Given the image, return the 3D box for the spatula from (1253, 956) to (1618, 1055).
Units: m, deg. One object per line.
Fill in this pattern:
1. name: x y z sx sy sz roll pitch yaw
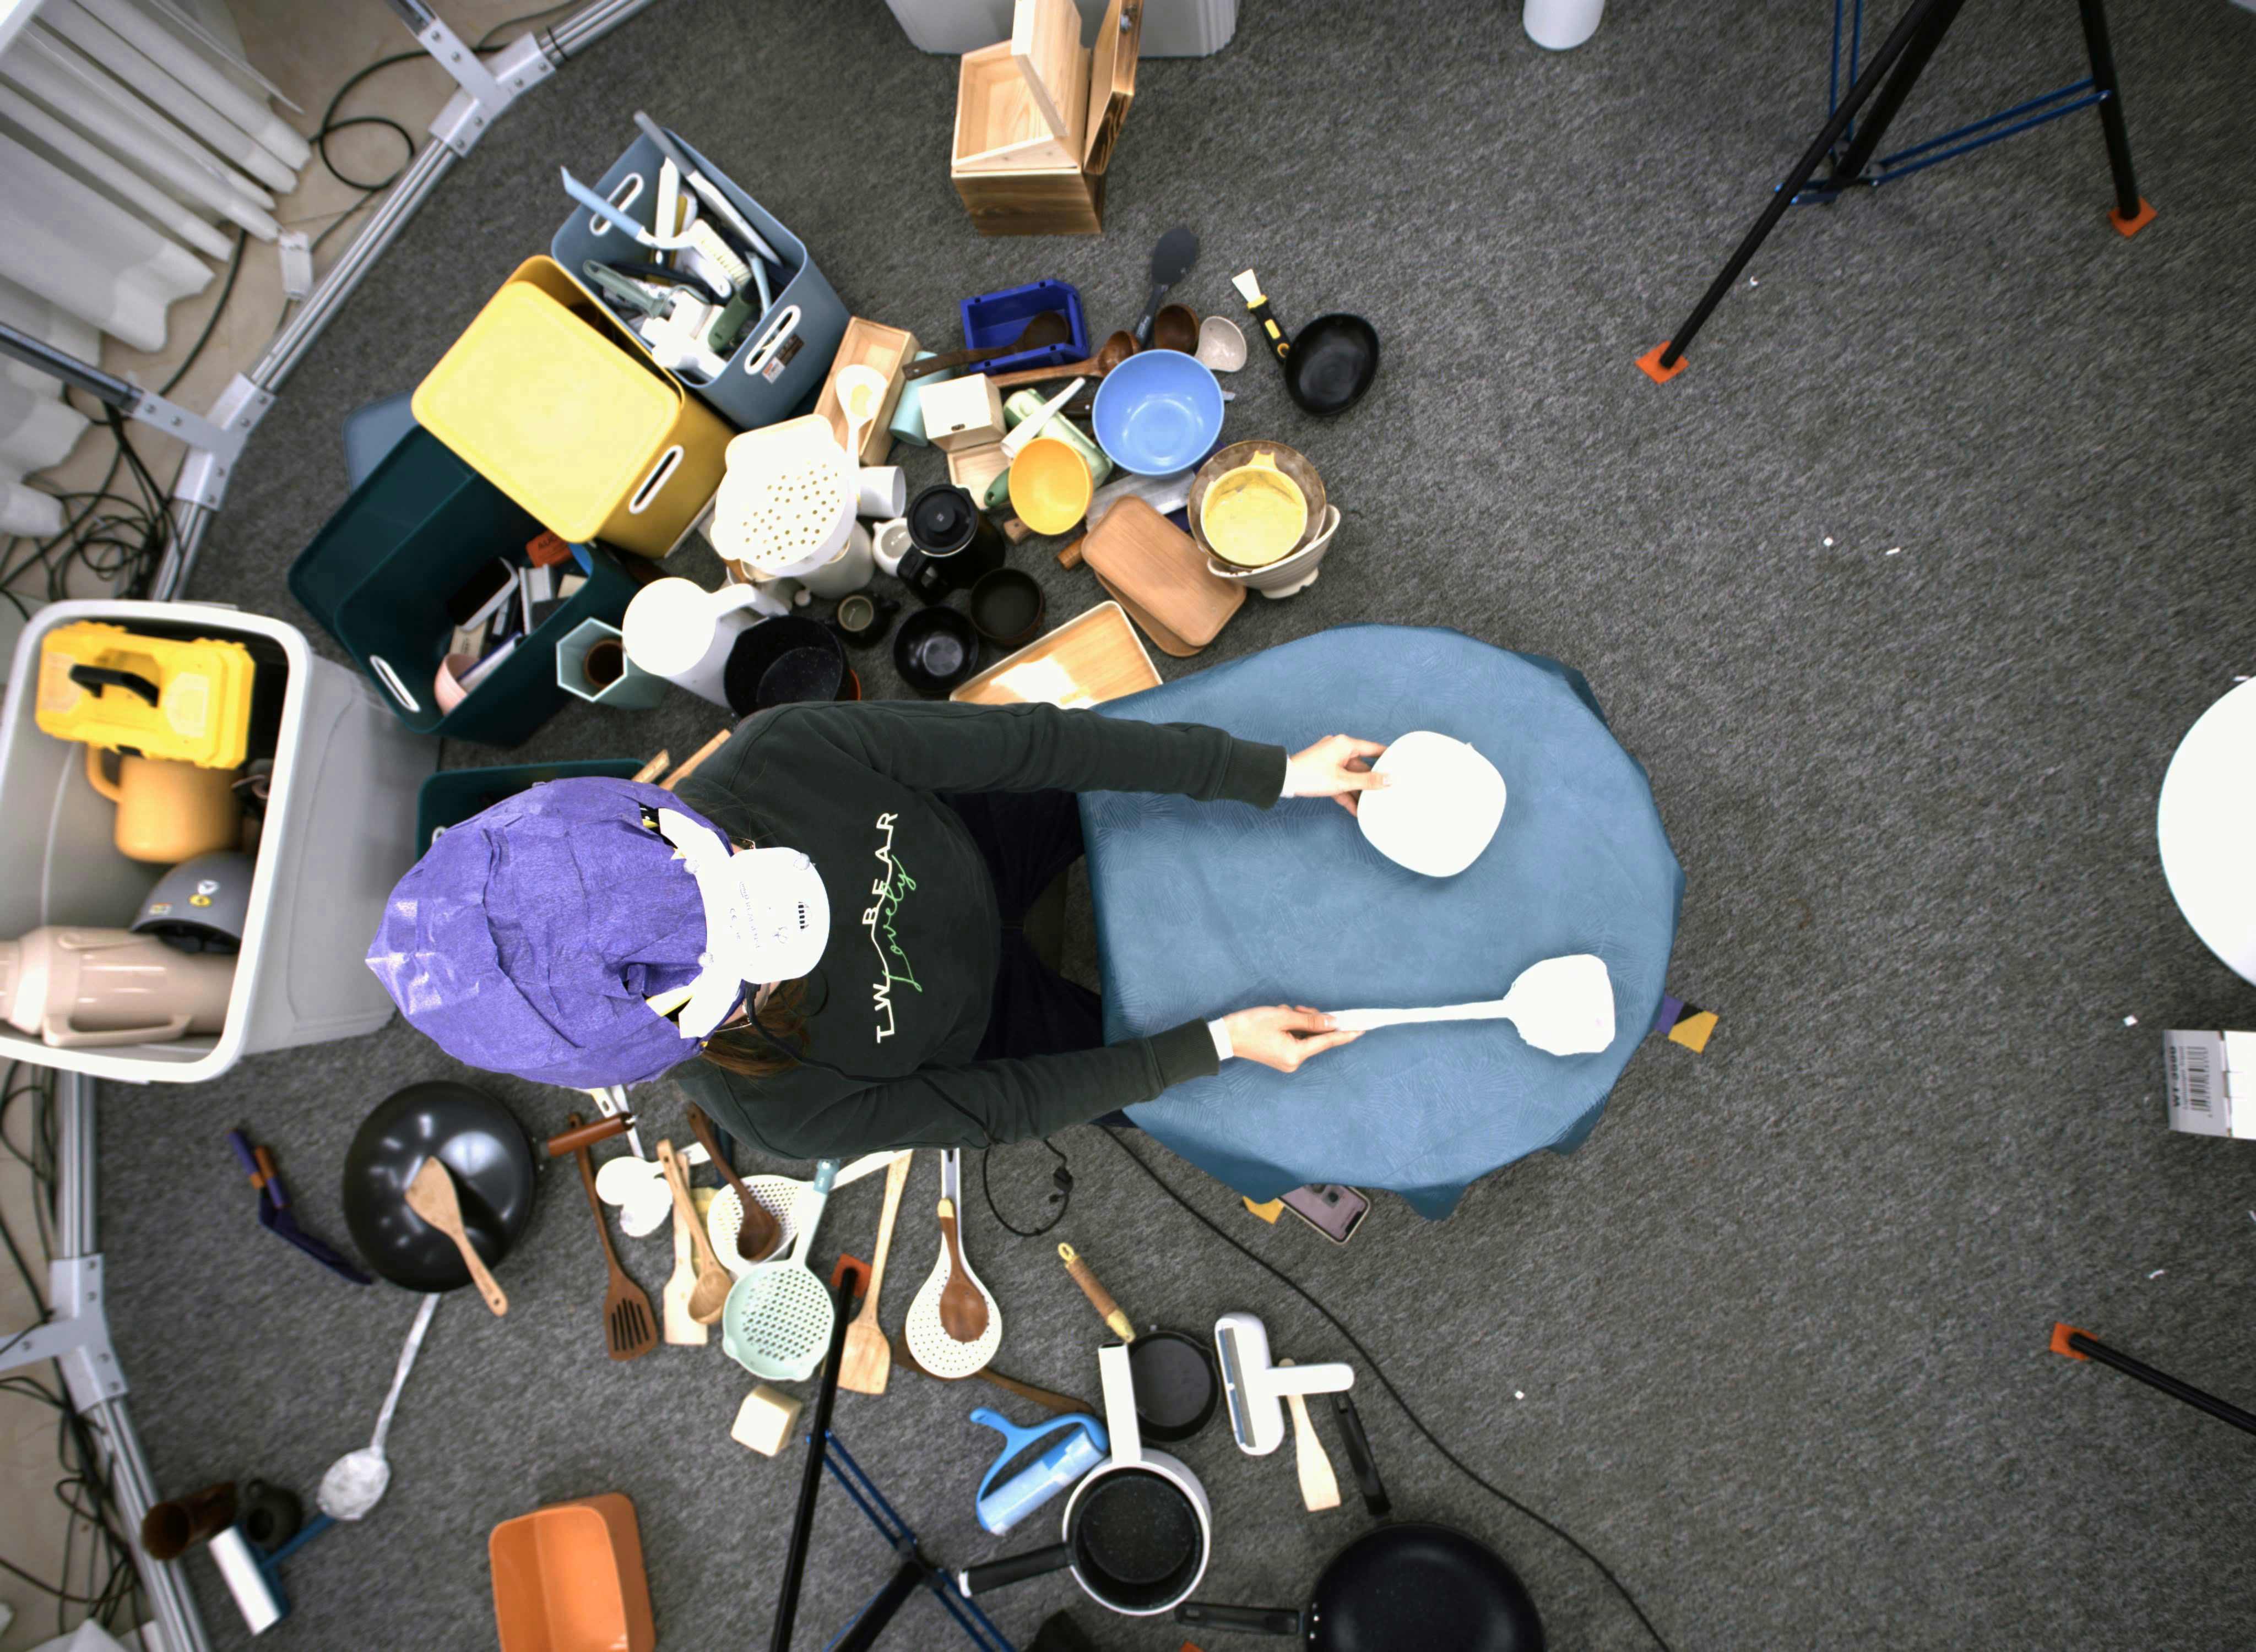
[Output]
1. spatula: 0.308 0.188 1.407 0.366 0.045 0.098 -4 87 9

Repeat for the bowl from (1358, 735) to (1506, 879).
1. bowl: 0.313 -0.018 1.428 0.152 0.059 0.150 -1 84 9
